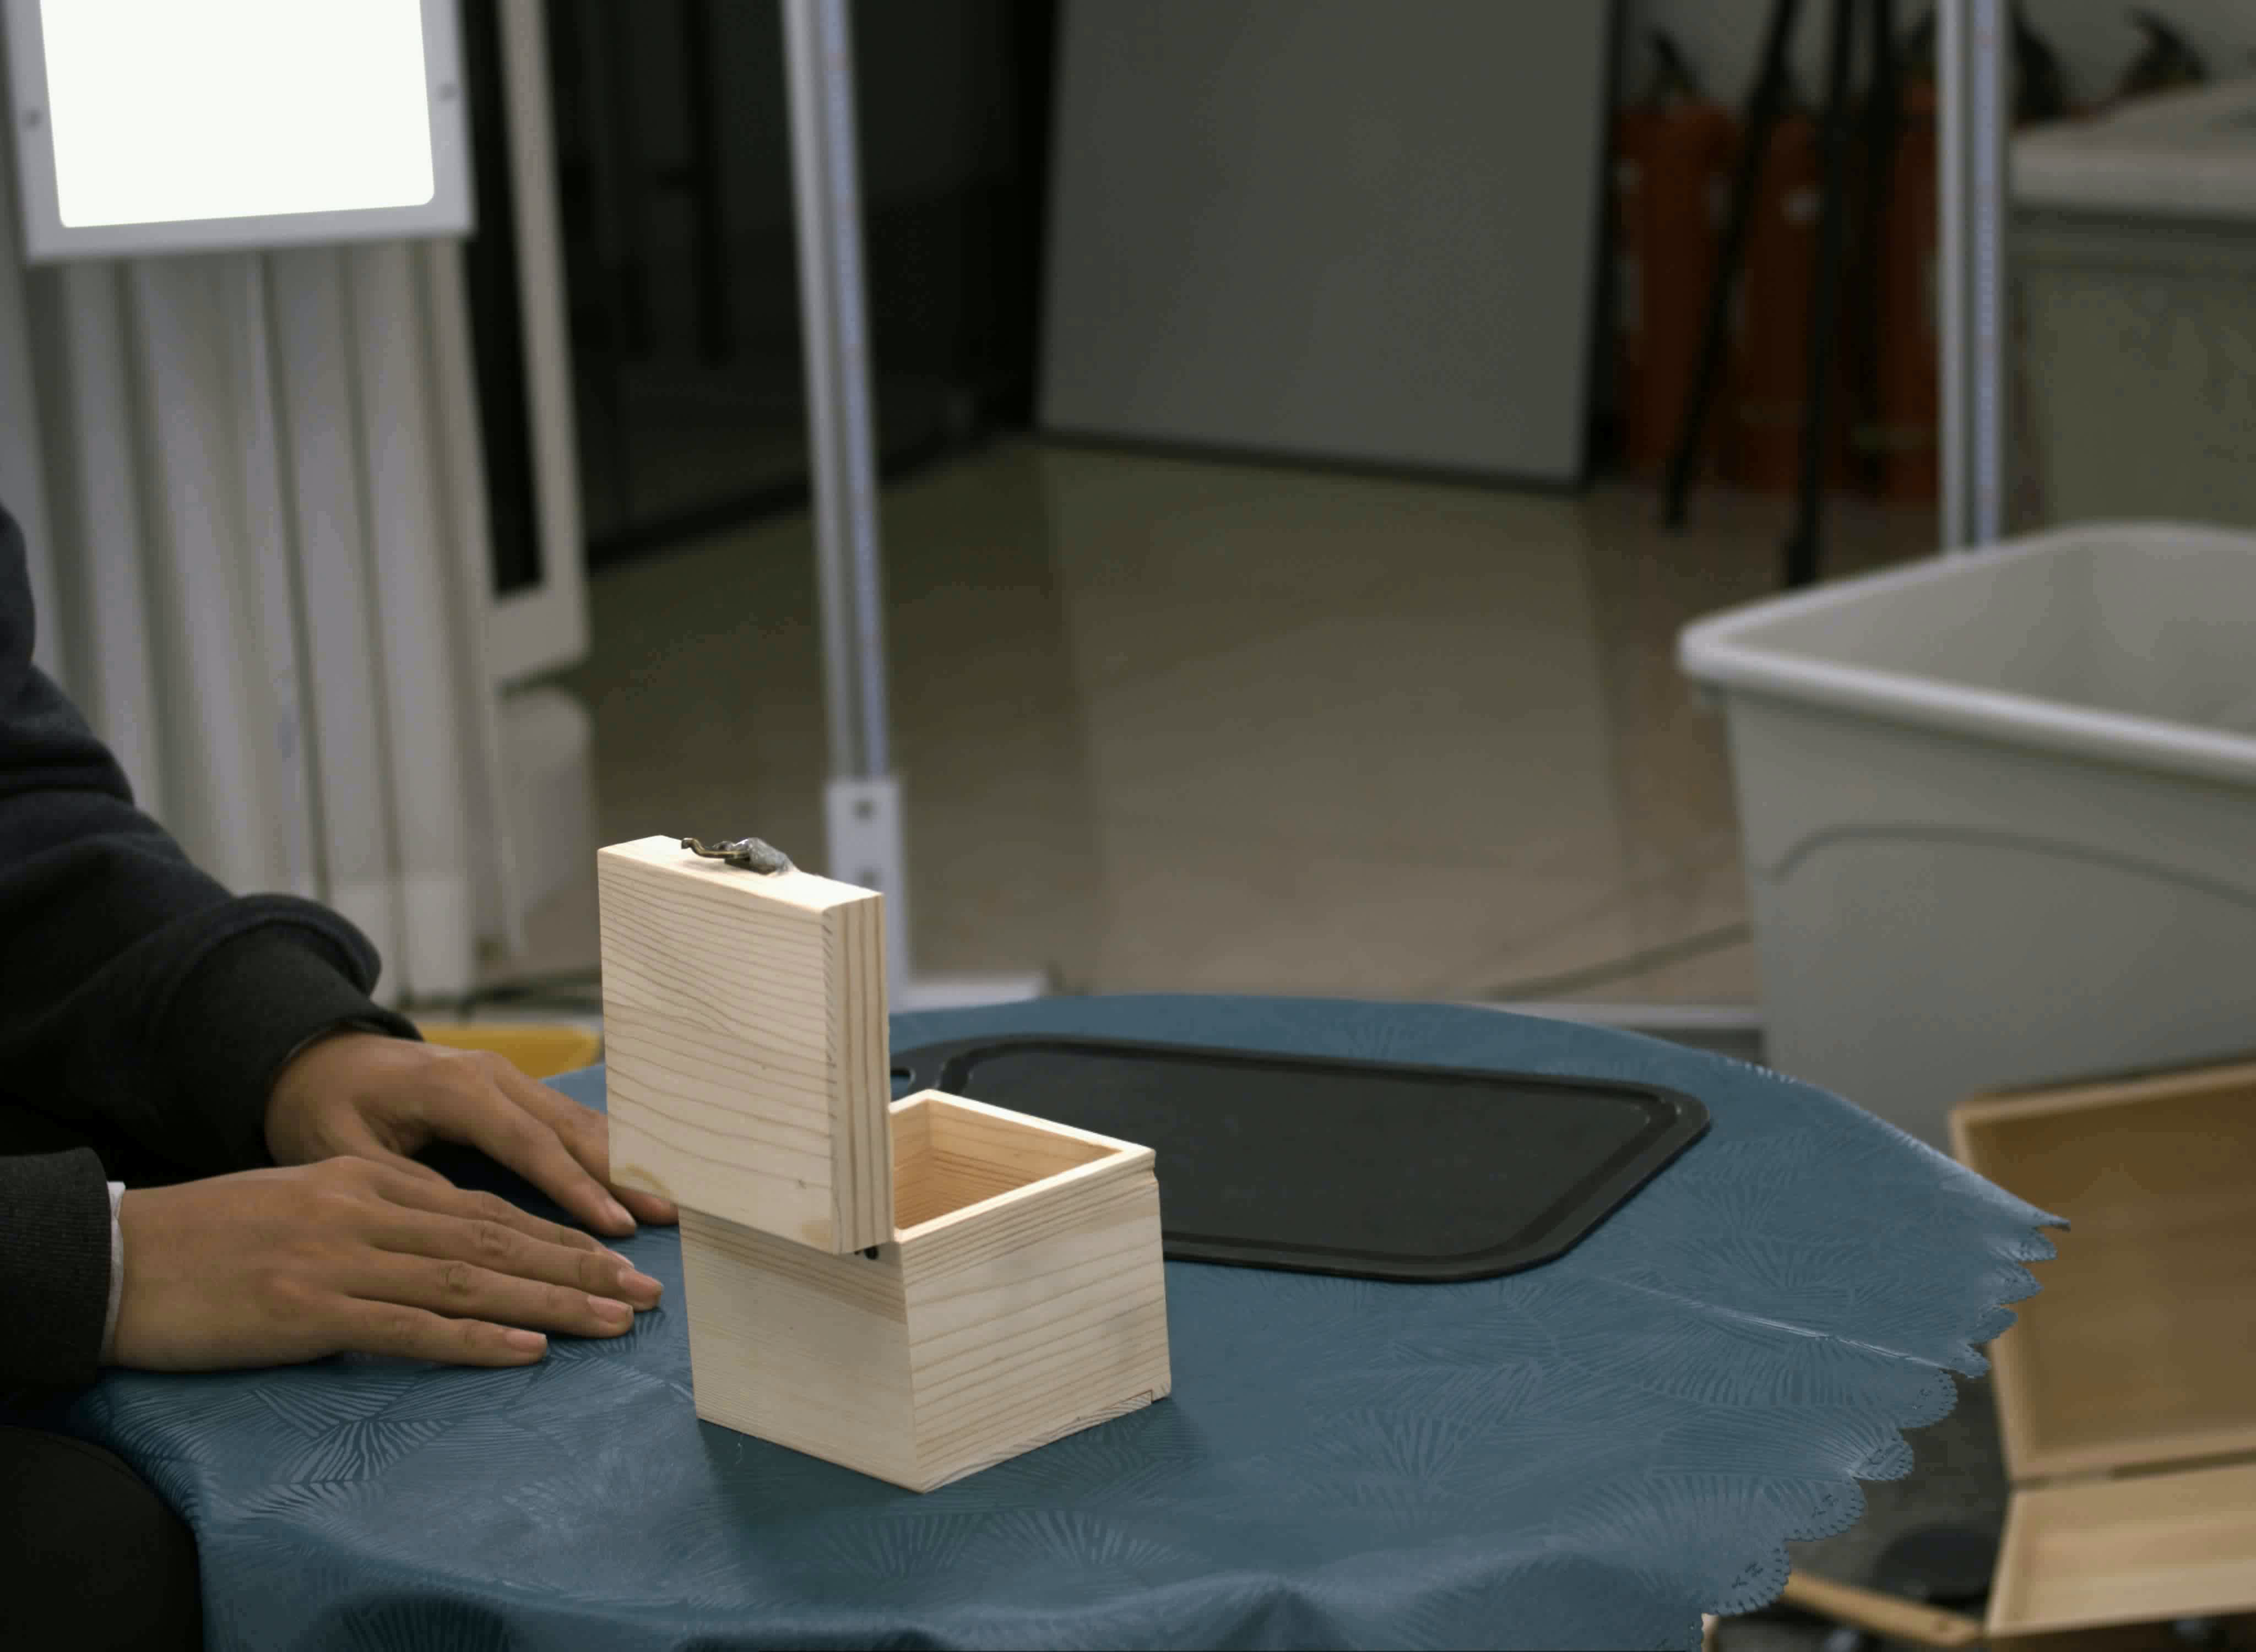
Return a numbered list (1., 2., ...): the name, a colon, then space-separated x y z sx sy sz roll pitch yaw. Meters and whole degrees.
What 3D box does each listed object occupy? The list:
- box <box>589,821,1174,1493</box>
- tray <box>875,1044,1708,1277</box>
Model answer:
1. box: -0.068 0.083 1.552 0.131 0.186 0.103 -17 19 -41
2. tray: 0.020 0.108 1.805 0.326 0.010 0.208 3 15 28
